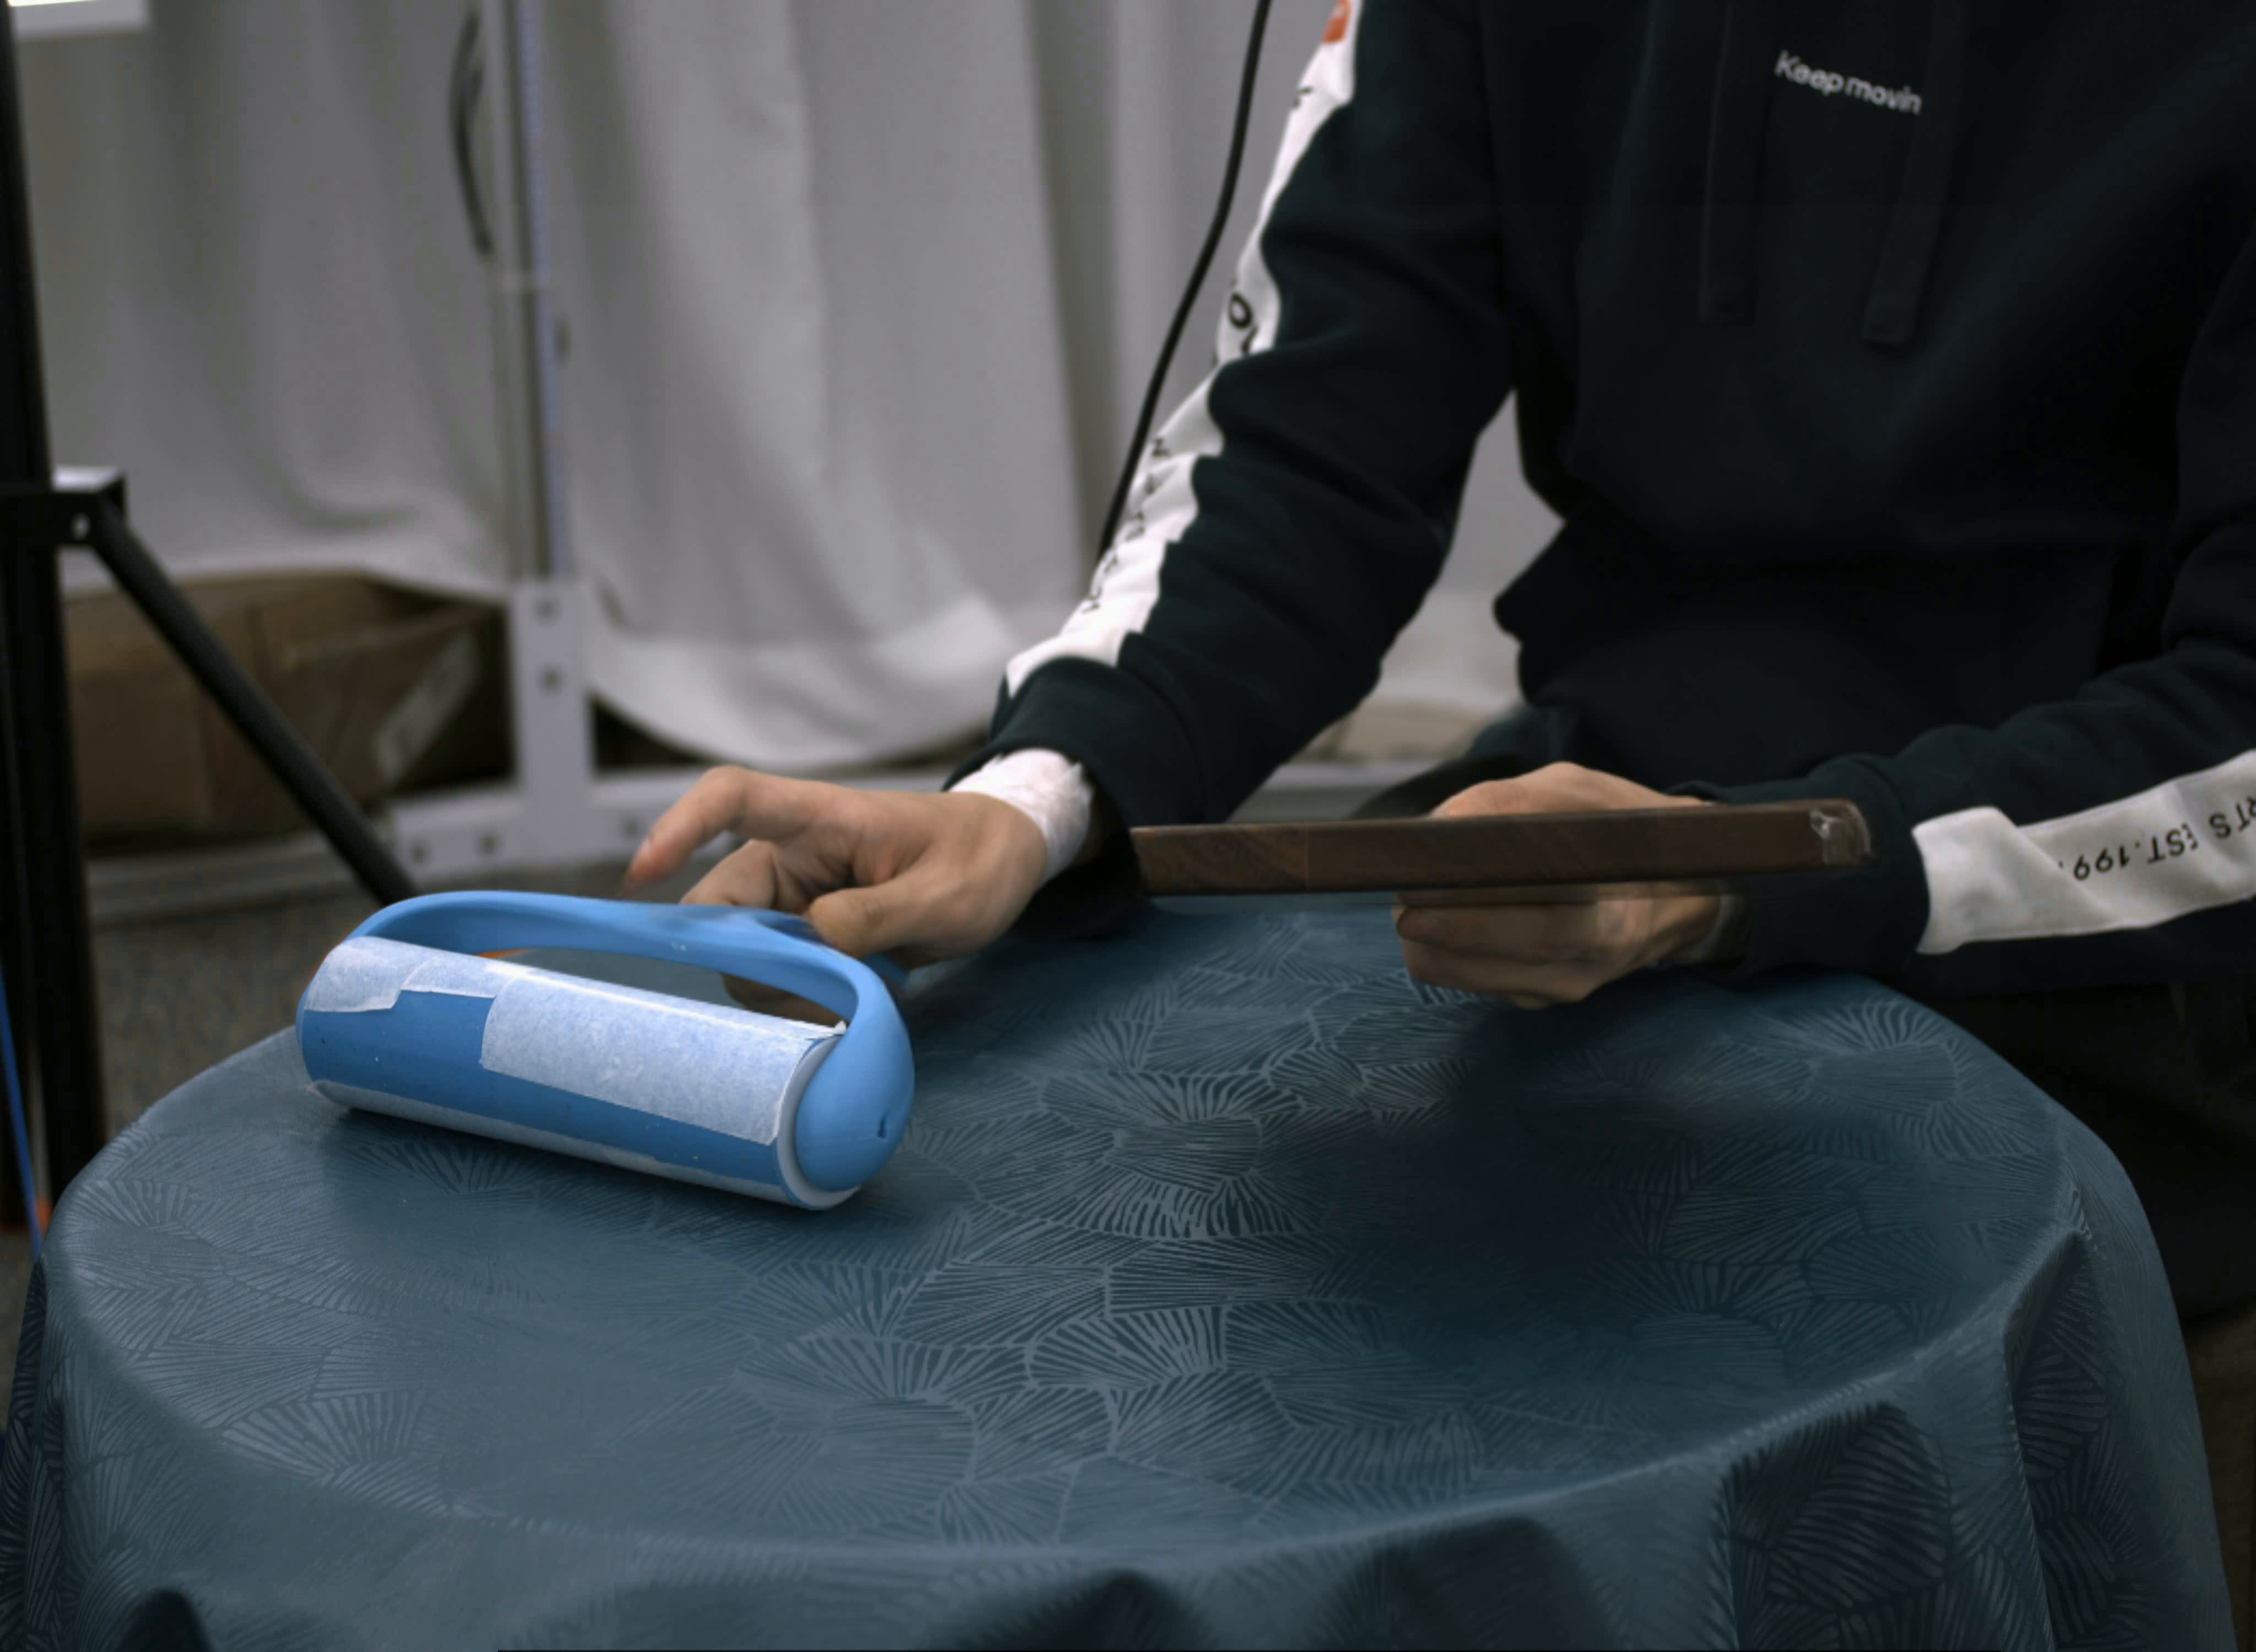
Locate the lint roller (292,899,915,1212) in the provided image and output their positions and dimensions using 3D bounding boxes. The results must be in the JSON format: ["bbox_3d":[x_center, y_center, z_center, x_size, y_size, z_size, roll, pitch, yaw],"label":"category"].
[{"bbox_3d":[-0.130,0.058,1.654,0.233,0.068,0.177,6,19,34],"label":"lint roller"}]

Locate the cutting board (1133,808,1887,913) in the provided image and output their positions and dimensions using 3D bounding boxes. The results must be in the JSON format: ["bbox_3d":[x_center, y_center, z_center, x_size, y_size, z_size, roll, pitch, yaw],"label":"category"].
[{"bbox_3d":[0.107,0.012,1.548,0.201,0.023,0.350,-1,-2,4],"label":"cutting board"}]
